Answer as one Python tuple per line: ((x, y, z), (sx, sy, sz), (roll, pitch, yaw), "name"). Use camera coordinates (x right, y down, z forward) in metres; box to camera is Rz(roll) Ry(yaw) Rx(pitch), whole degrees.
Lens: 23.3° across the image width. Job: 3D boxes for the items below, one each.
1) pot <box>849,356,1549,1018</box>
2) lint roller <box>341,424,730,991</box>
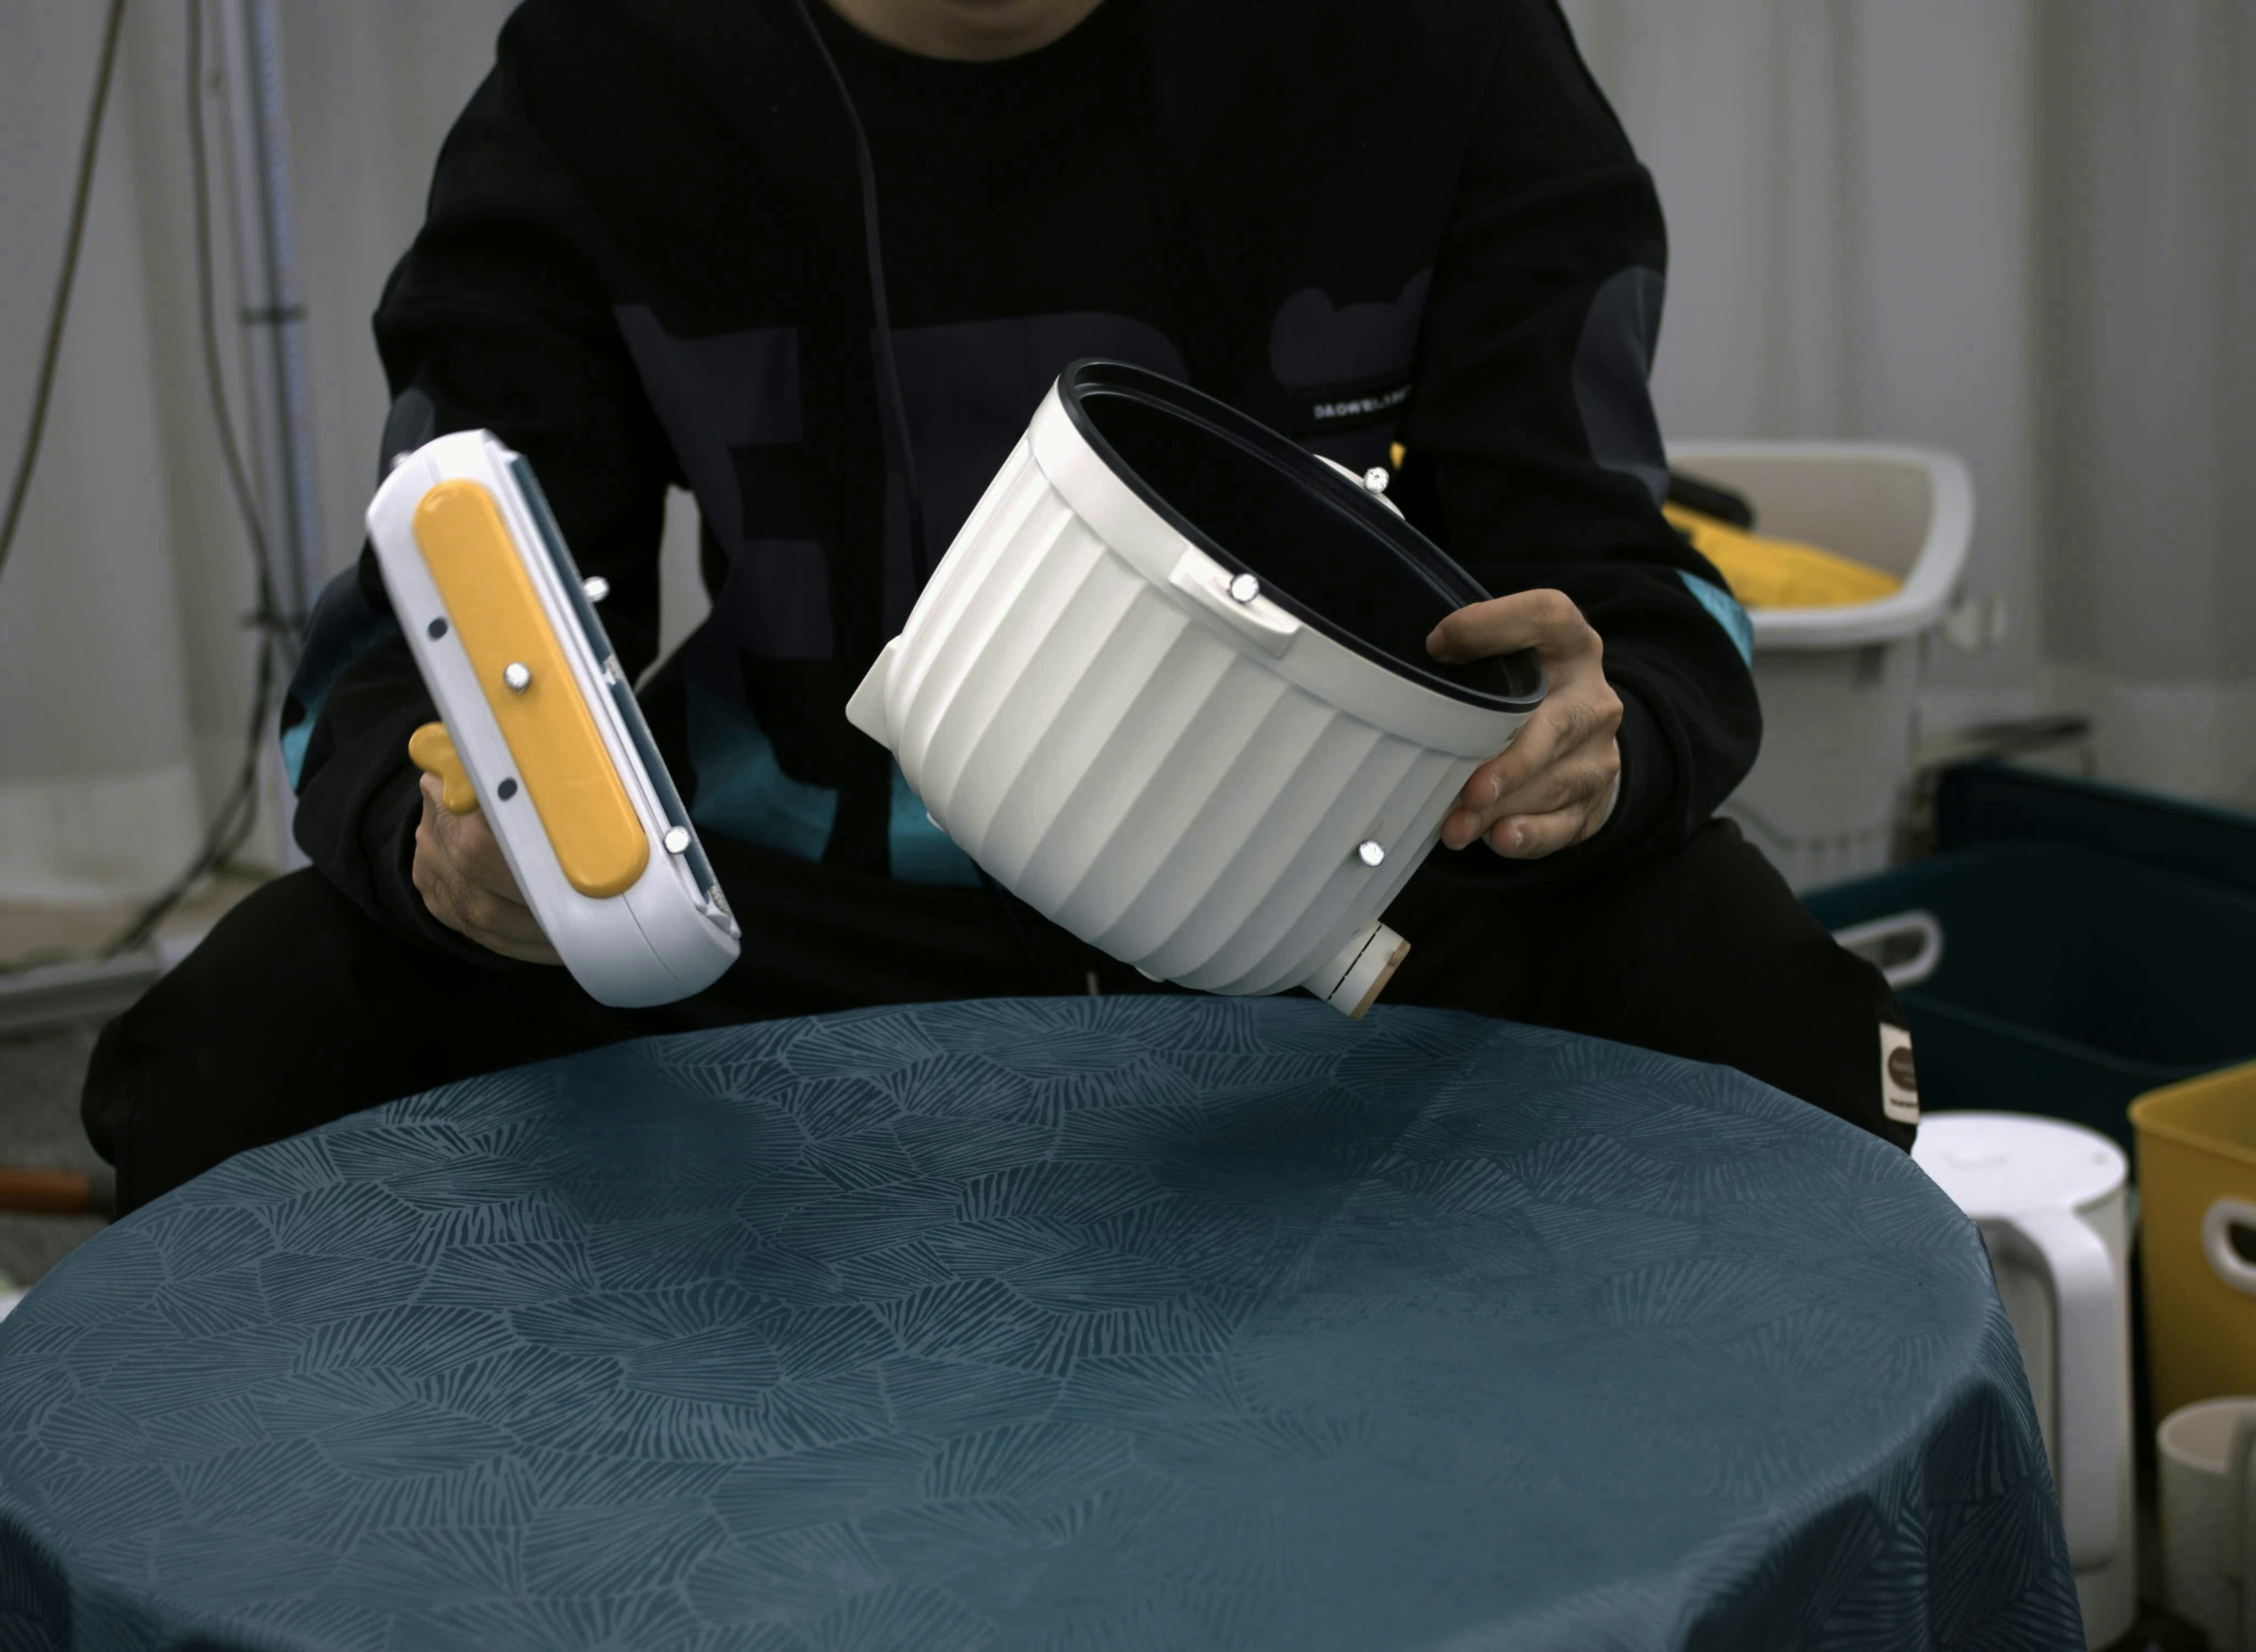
((0.025, -0.038, 1.715), (0.190, 0.142, 0.241), (32, 17, 4), "pot")
((-0.180, -0.012, 1.734), (0.074, 0.195, 0.190), (-31, -23, -5), "lint roller")
